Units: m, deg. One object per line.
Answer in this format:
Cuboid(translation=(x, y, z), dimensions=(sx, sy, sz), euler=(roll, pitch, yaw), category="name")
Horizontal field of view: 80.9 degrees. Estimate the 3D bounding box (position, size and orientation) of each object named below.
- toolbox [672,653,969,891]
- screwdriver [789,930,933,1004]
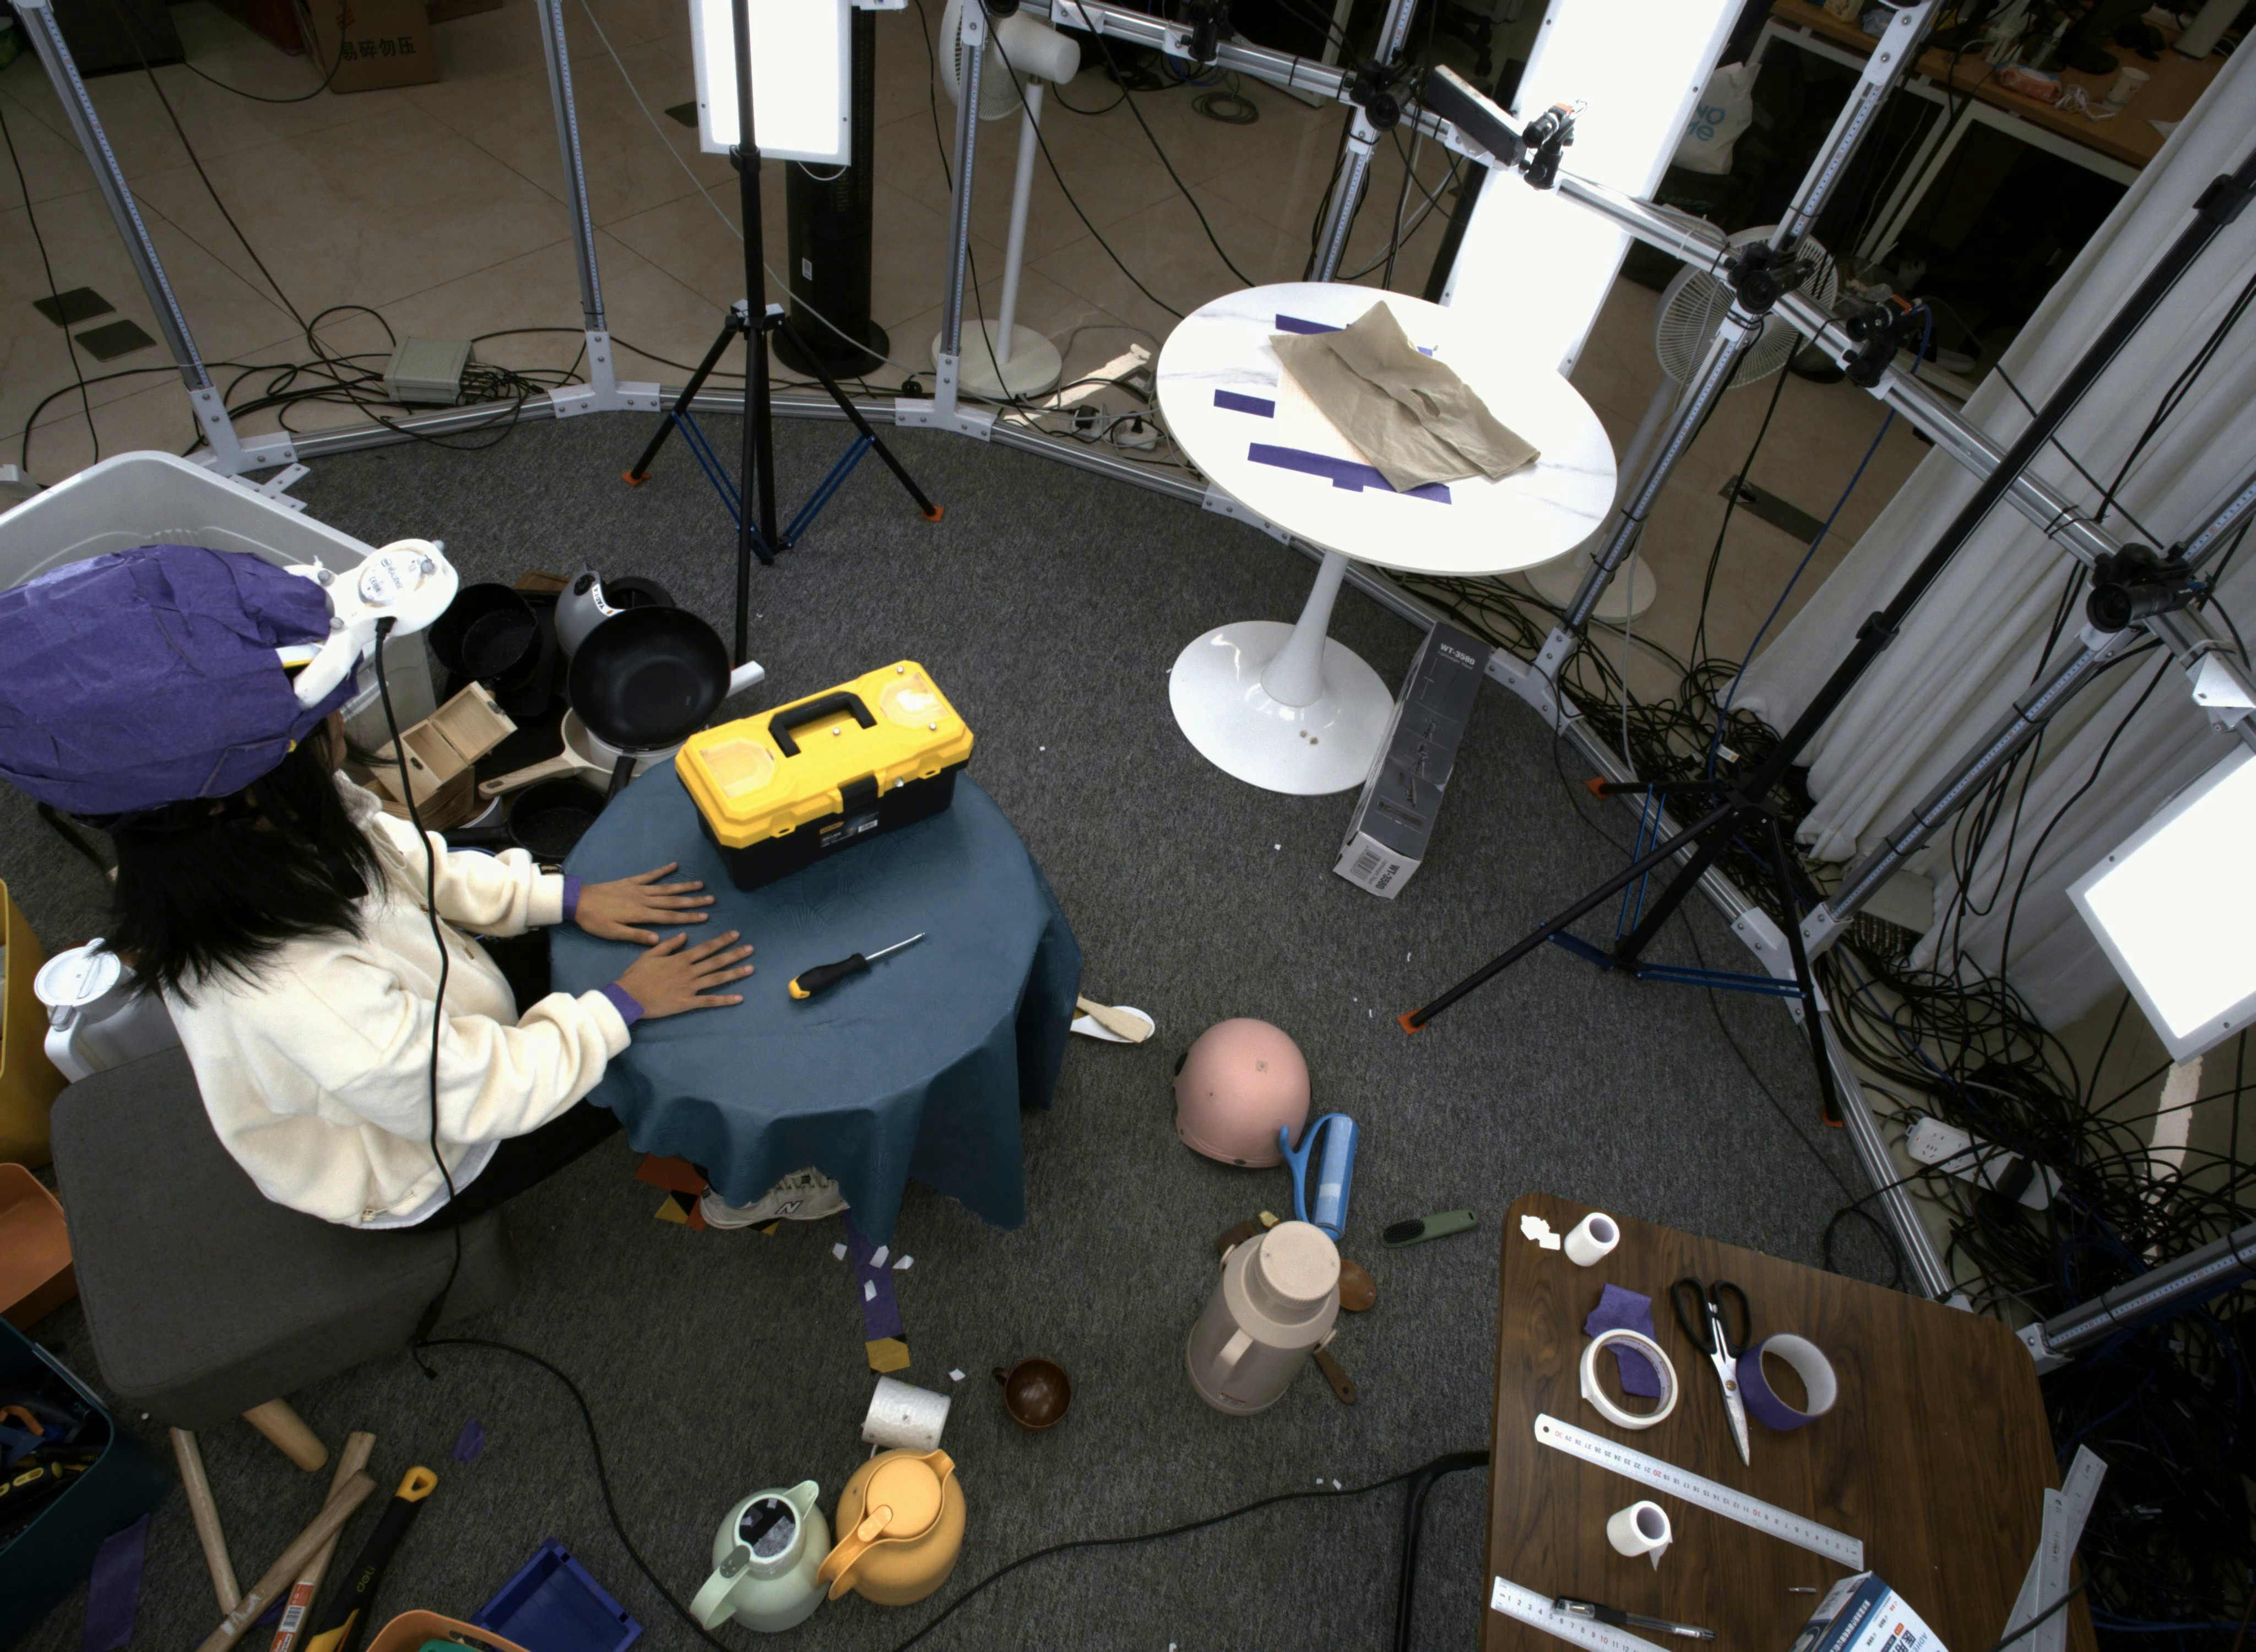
Cuboid(translation=(-0.389, -0.068, 1.667), dimensions=(0.353, 0.176, 0.177), euler=(-24, 62, -29), category="toolbox")
Cuboid(translation=(-0.328, 0.170, 1.611), dimensions=(0.199, 0.032, 0.030), euler=(-22, 60, -33), category="screwdriver")
